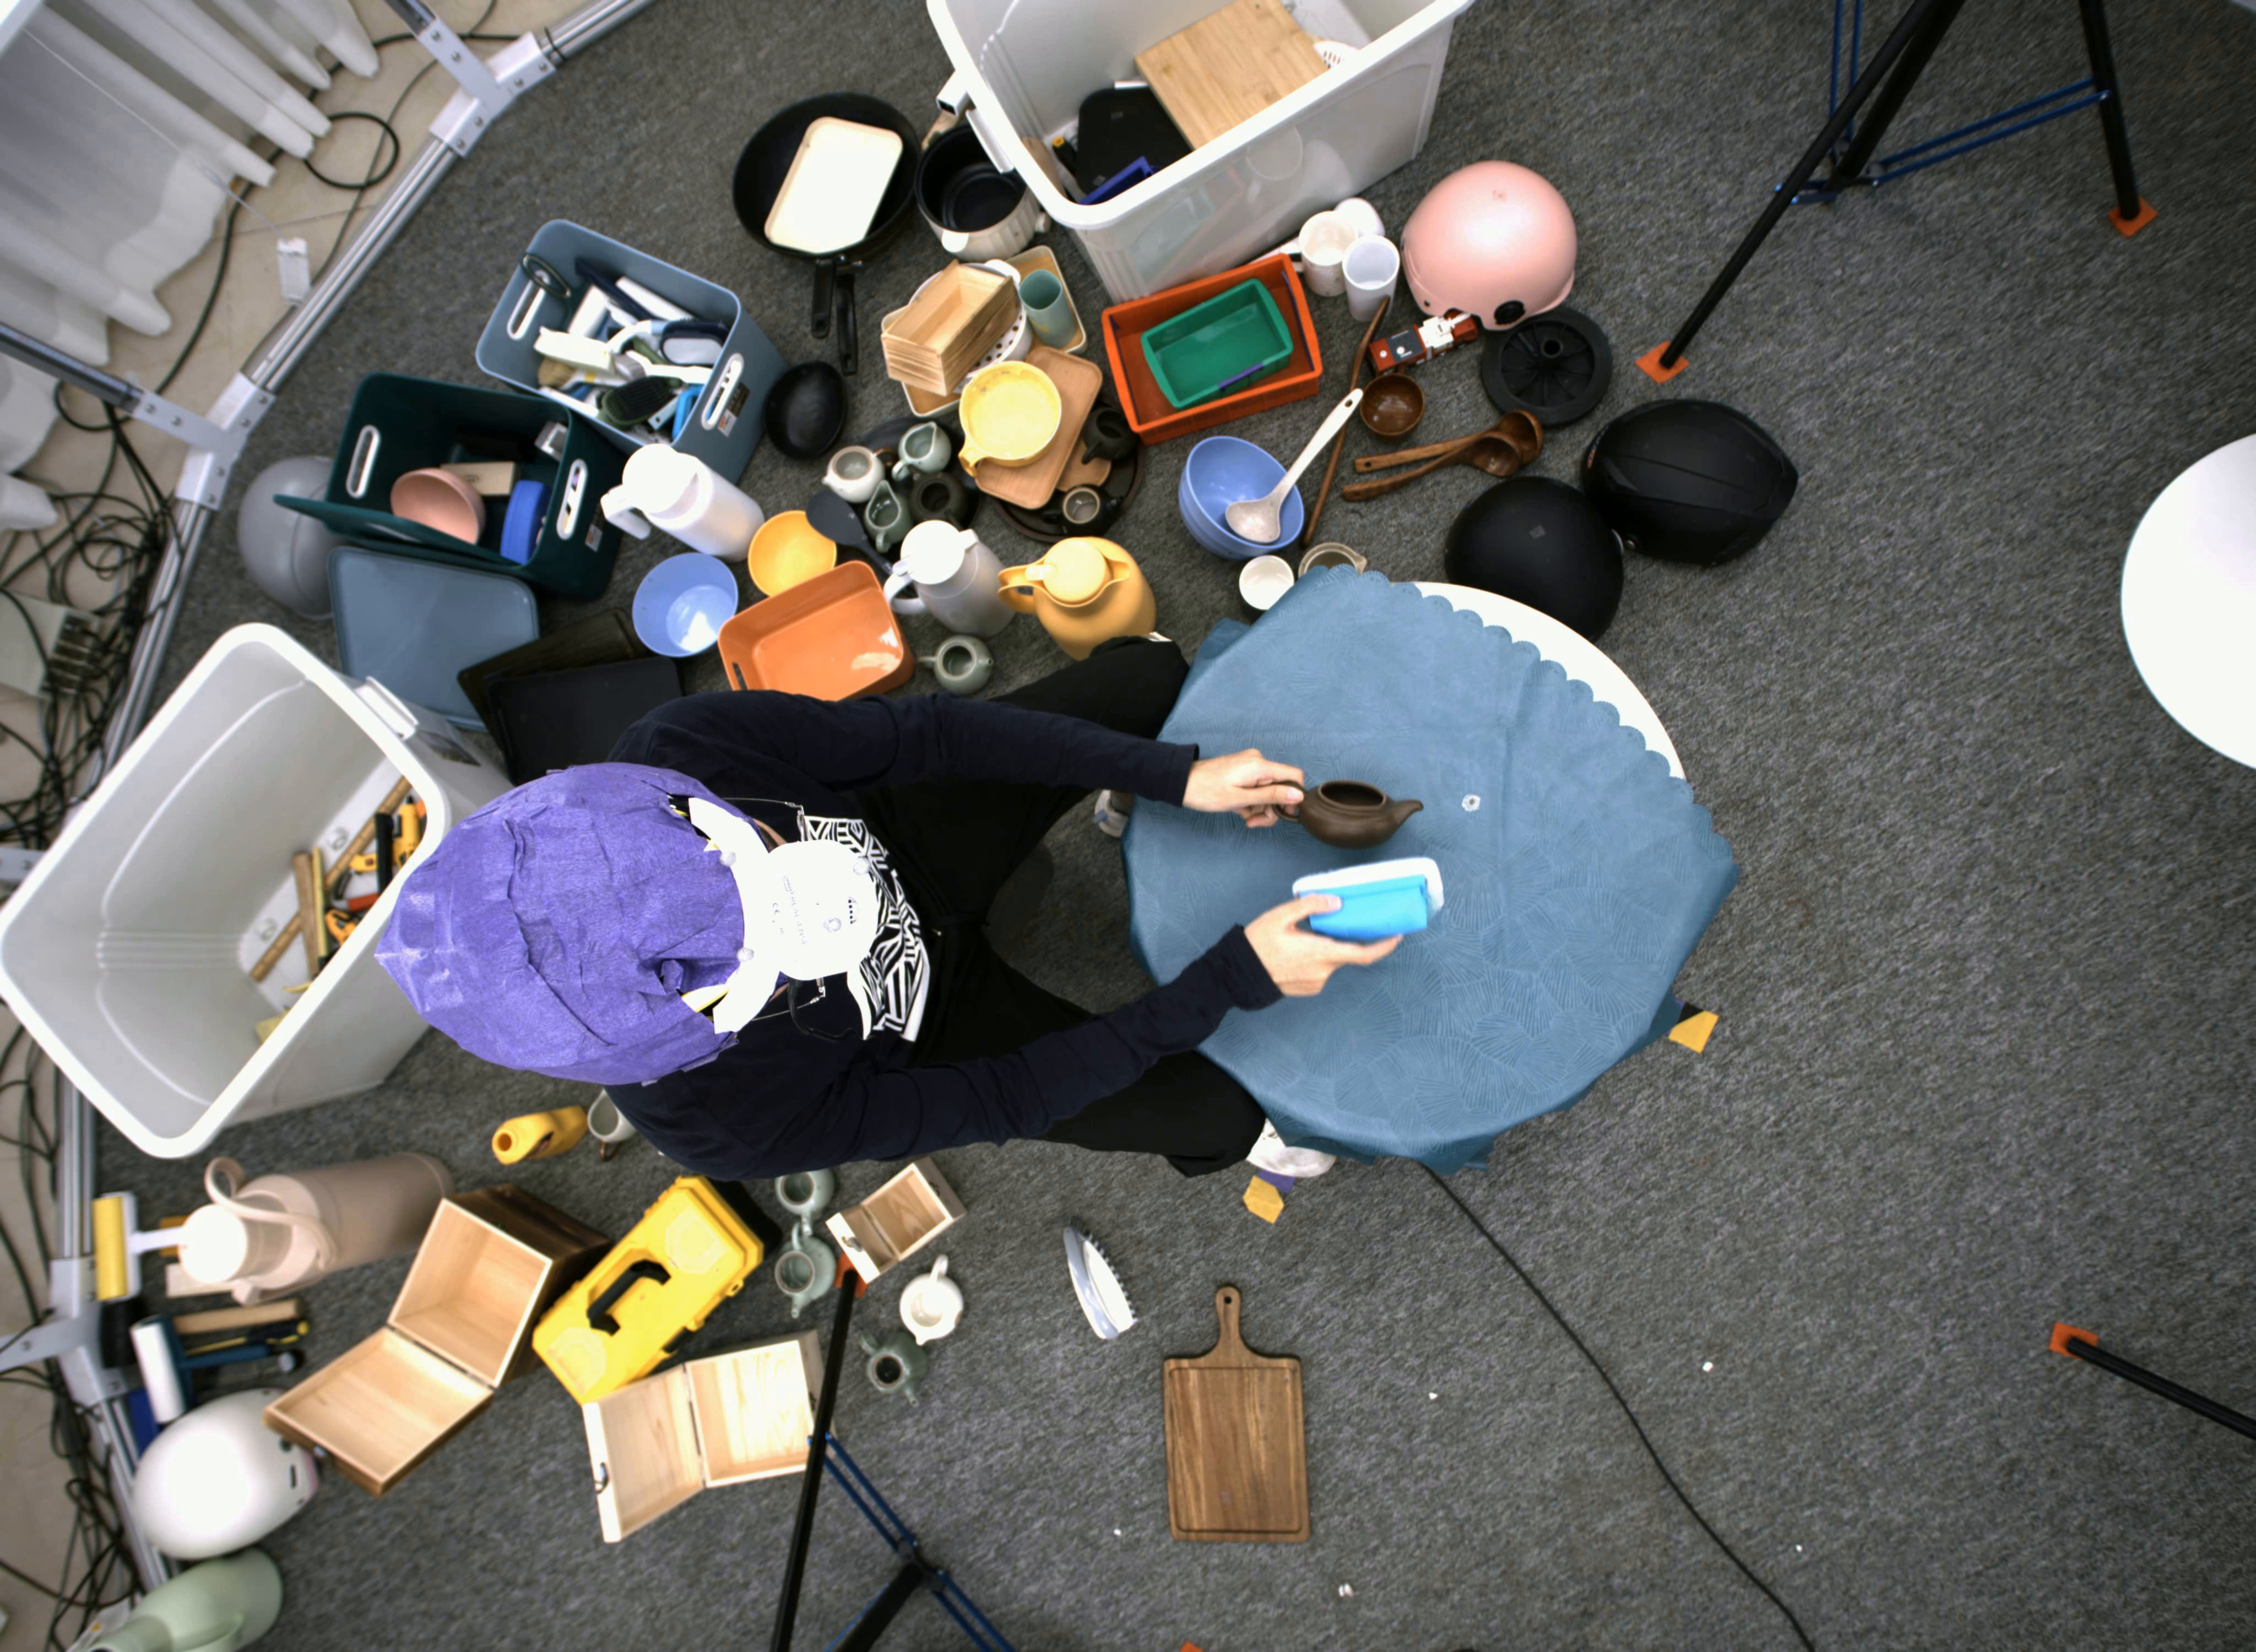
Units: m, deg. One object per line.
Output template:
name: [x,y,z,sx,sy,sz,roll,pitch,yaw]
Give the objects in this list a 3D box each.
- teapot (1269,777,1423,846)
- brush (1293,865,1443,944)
teapot: [0.219,-0.018,1.398,0.154,0.100,0.055,8,116,8]
brush: [0.234,0.082,1.344,0.145,0.085,0.054,-7,47,13]
